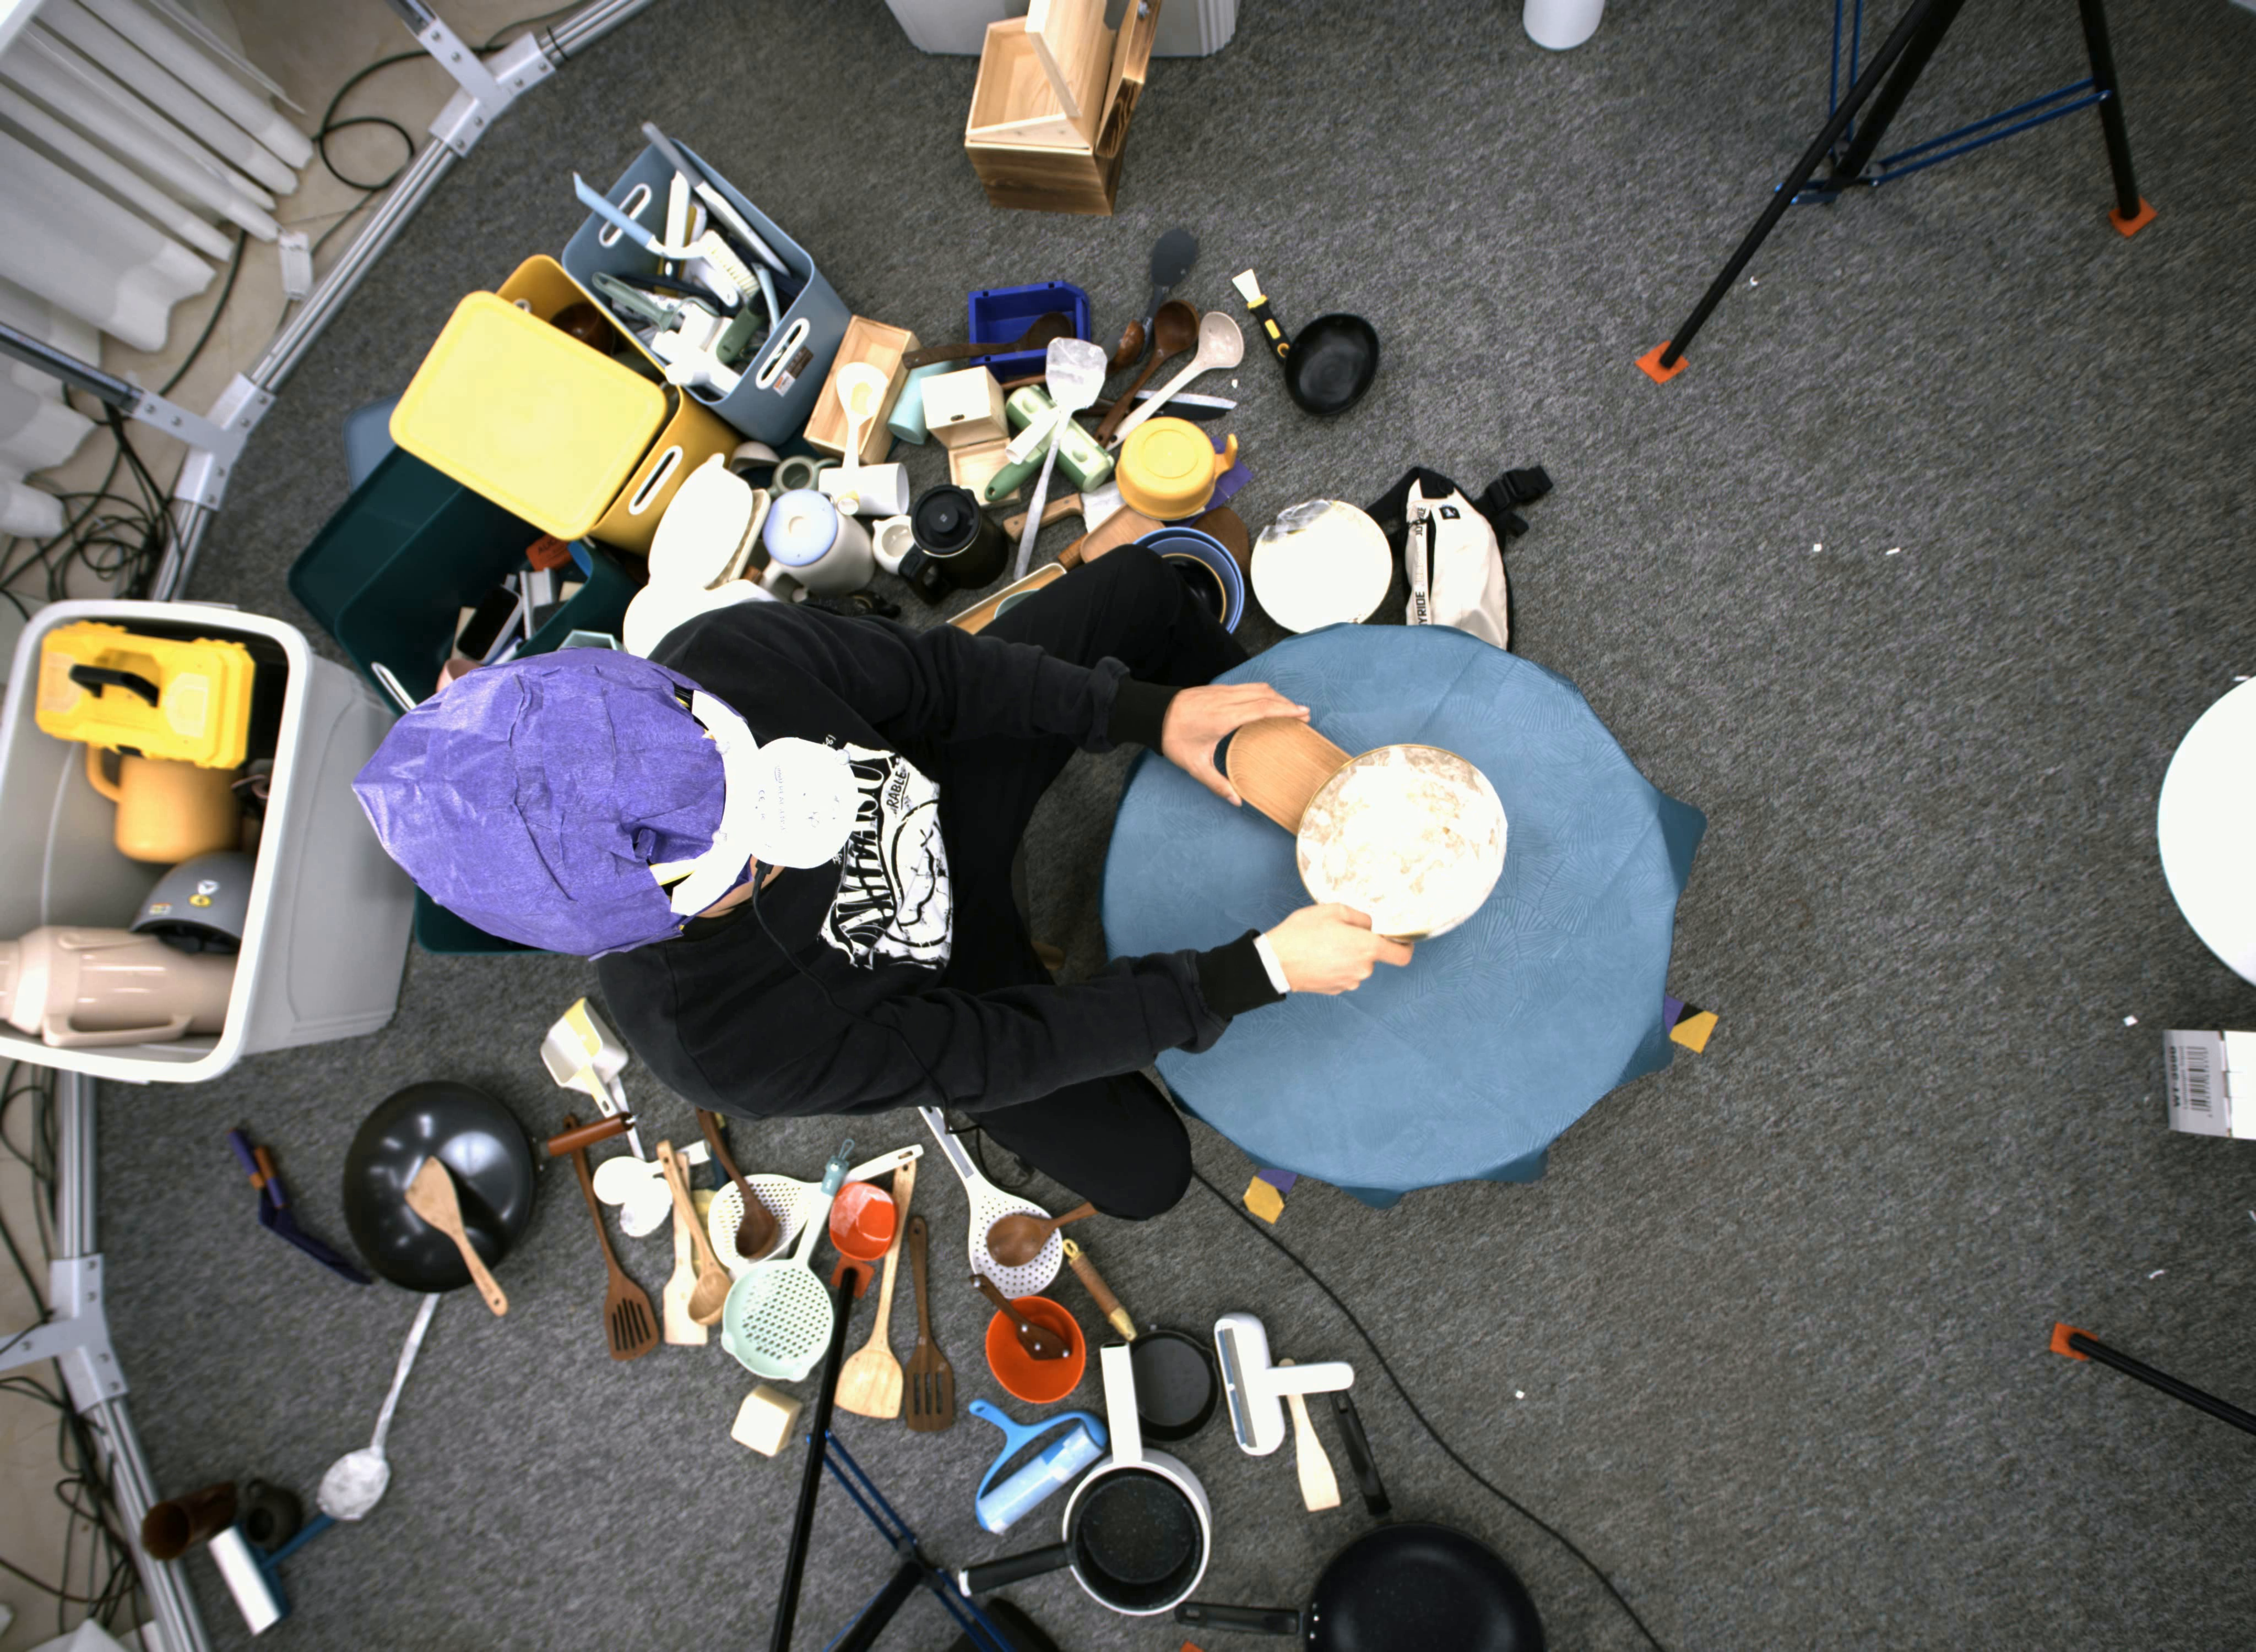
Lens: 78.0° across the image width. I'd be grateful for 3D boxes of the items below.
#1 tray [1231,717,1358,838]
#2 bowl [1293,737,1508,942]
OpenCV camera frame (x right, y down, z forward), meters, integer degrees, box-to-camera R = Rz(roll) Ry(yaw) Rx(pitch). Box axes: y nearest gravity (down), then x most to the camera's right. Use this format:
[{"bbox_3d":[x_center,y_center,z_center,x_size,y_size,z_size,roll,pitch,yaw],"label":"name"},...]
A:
[{"bbox_3d":[0.211,-0.027,1.444,0.232,0.020,0.102,33,97,-8],"label":"tray"},{"bbox_3d":[0.273,0.025,1.352,0.217,0.095,0.210,-12,62,23],"label":"bowl"}]
